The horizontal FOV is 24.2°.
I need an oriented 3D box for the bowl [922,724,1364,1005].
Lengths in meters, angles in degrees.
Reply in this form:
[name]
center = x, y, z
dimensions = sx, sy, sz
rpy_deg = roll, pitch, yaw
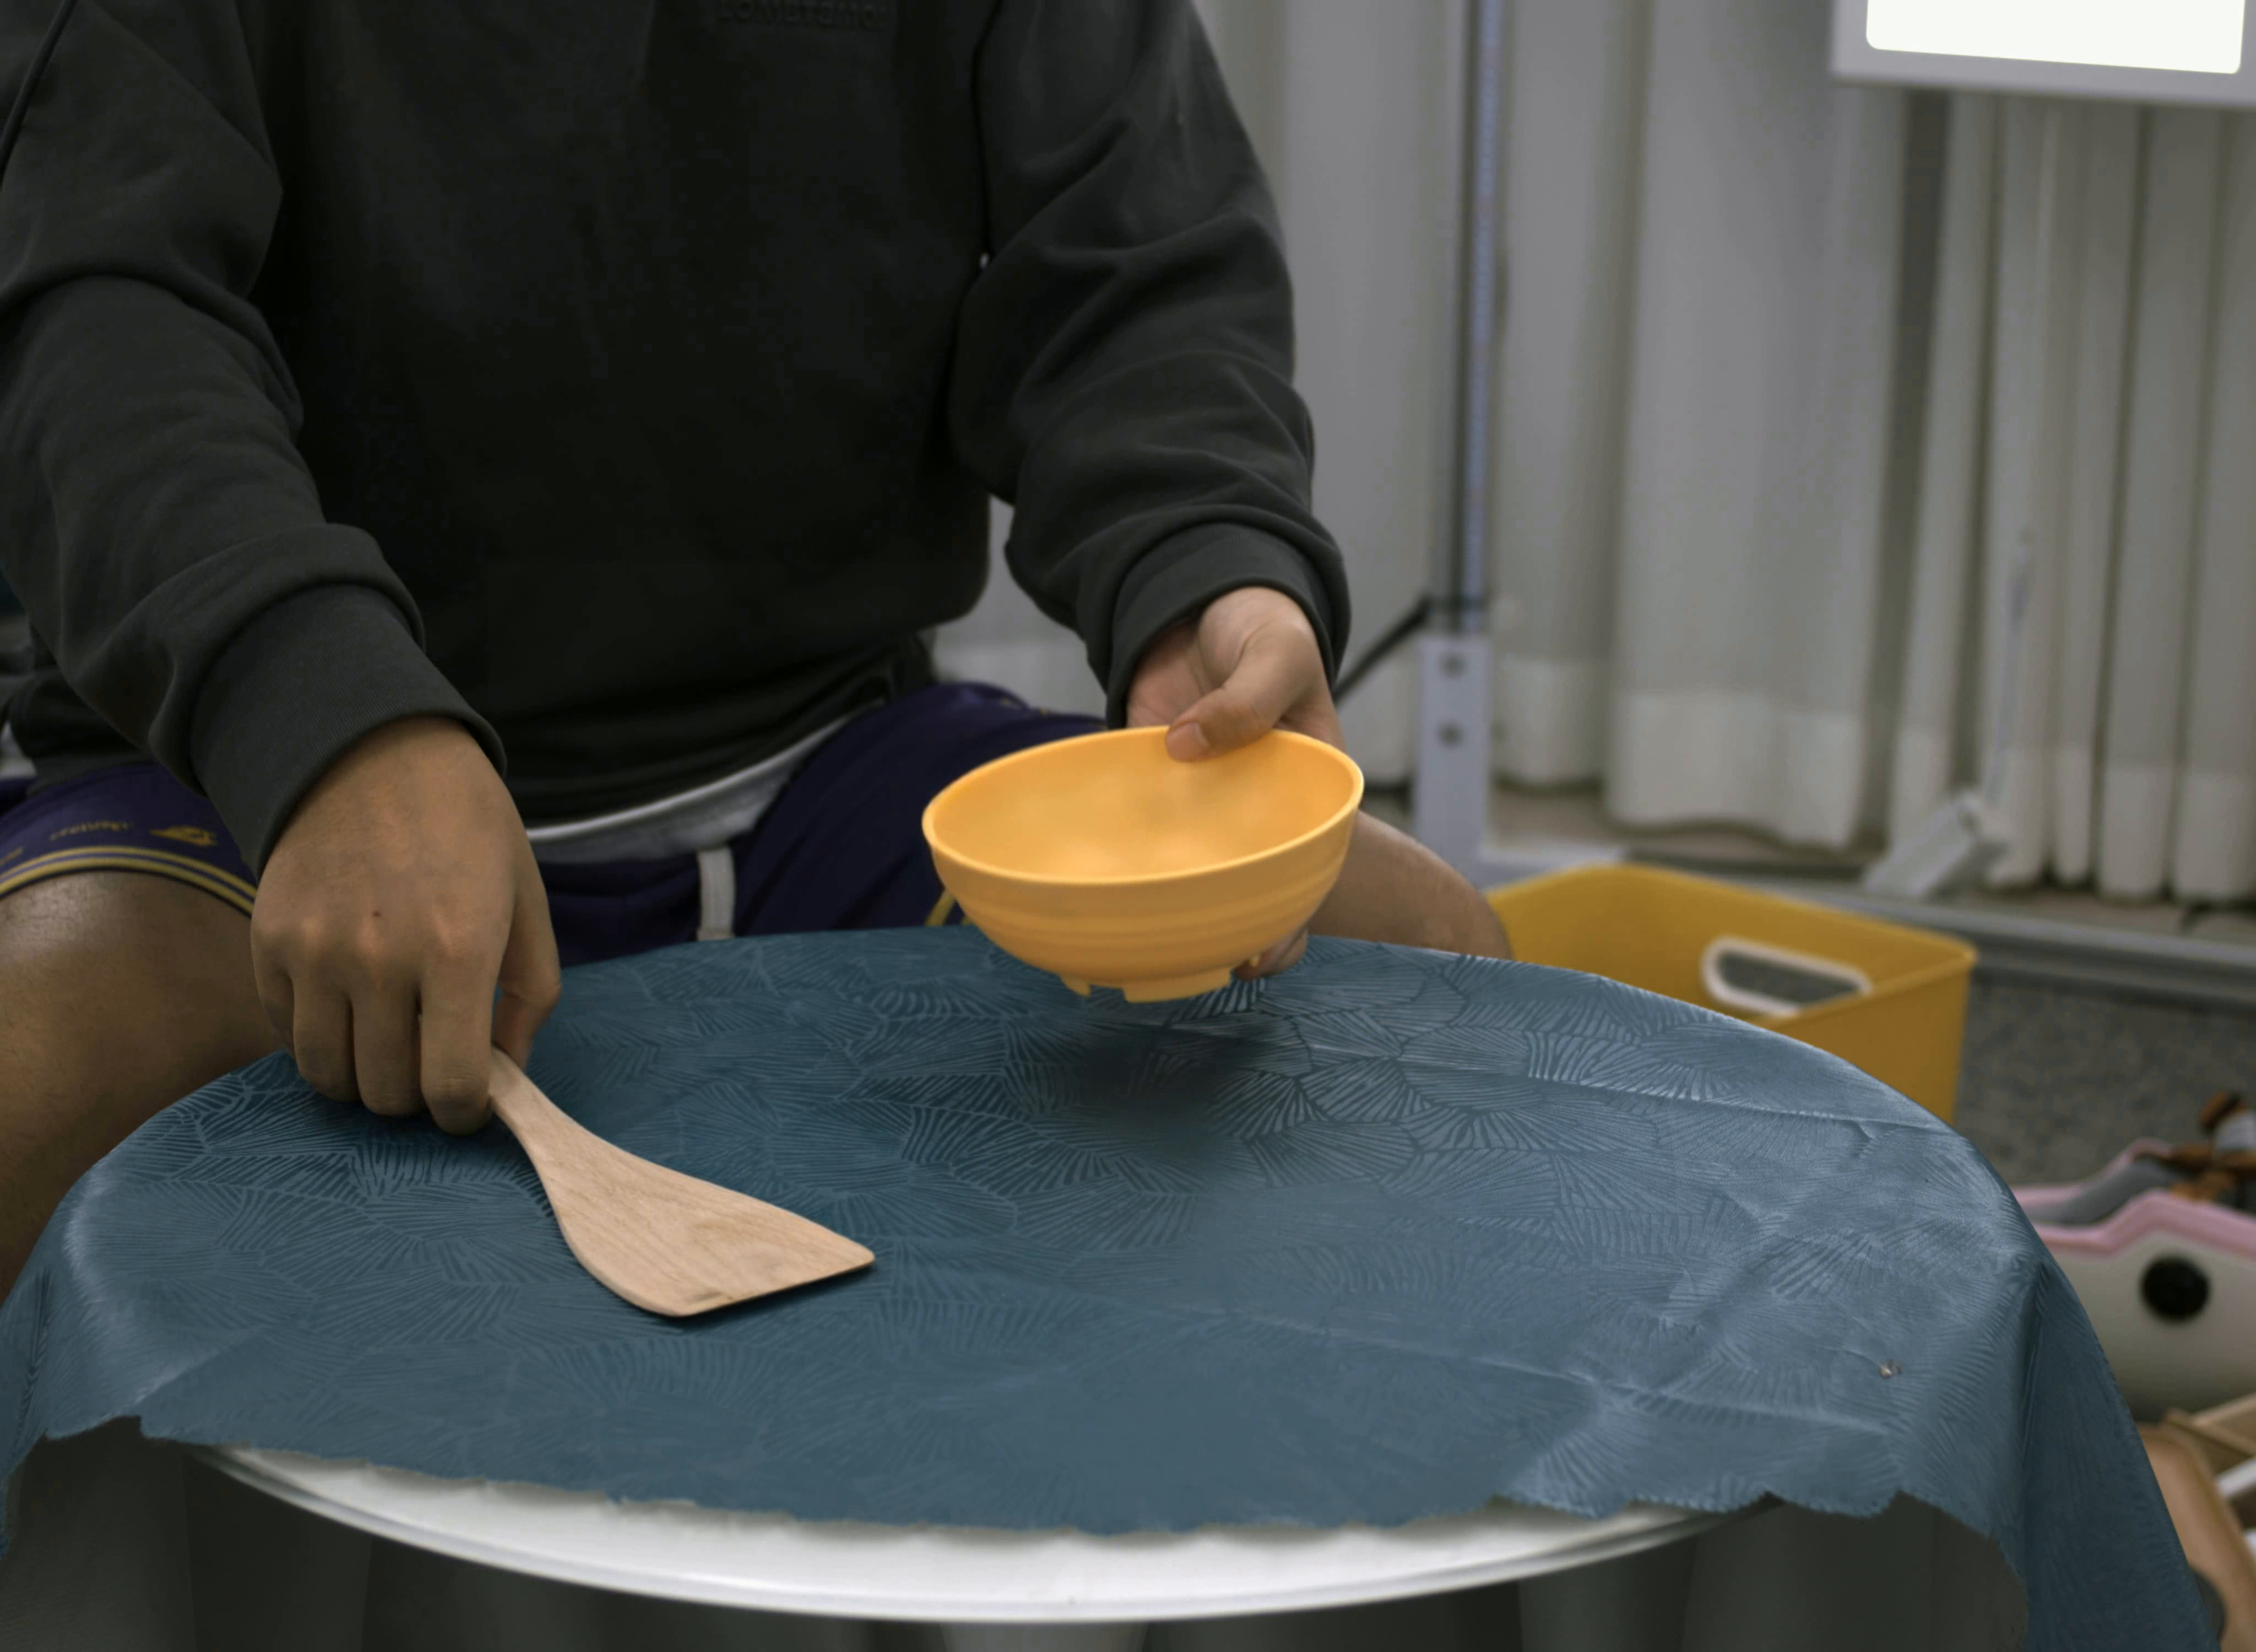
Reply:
[bowl]
center = 0.007, 0.019, 1.722
dimensions = 0.145, 0.061, 0.144
rpy_deg = -4, 21, 2

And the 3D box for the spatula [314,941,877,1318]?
[spatula]
center = -0.182, 0.089, 1.646
dimensions = 0.080, 0.016, 0.323
rpy_deg = -9, 24, -30
